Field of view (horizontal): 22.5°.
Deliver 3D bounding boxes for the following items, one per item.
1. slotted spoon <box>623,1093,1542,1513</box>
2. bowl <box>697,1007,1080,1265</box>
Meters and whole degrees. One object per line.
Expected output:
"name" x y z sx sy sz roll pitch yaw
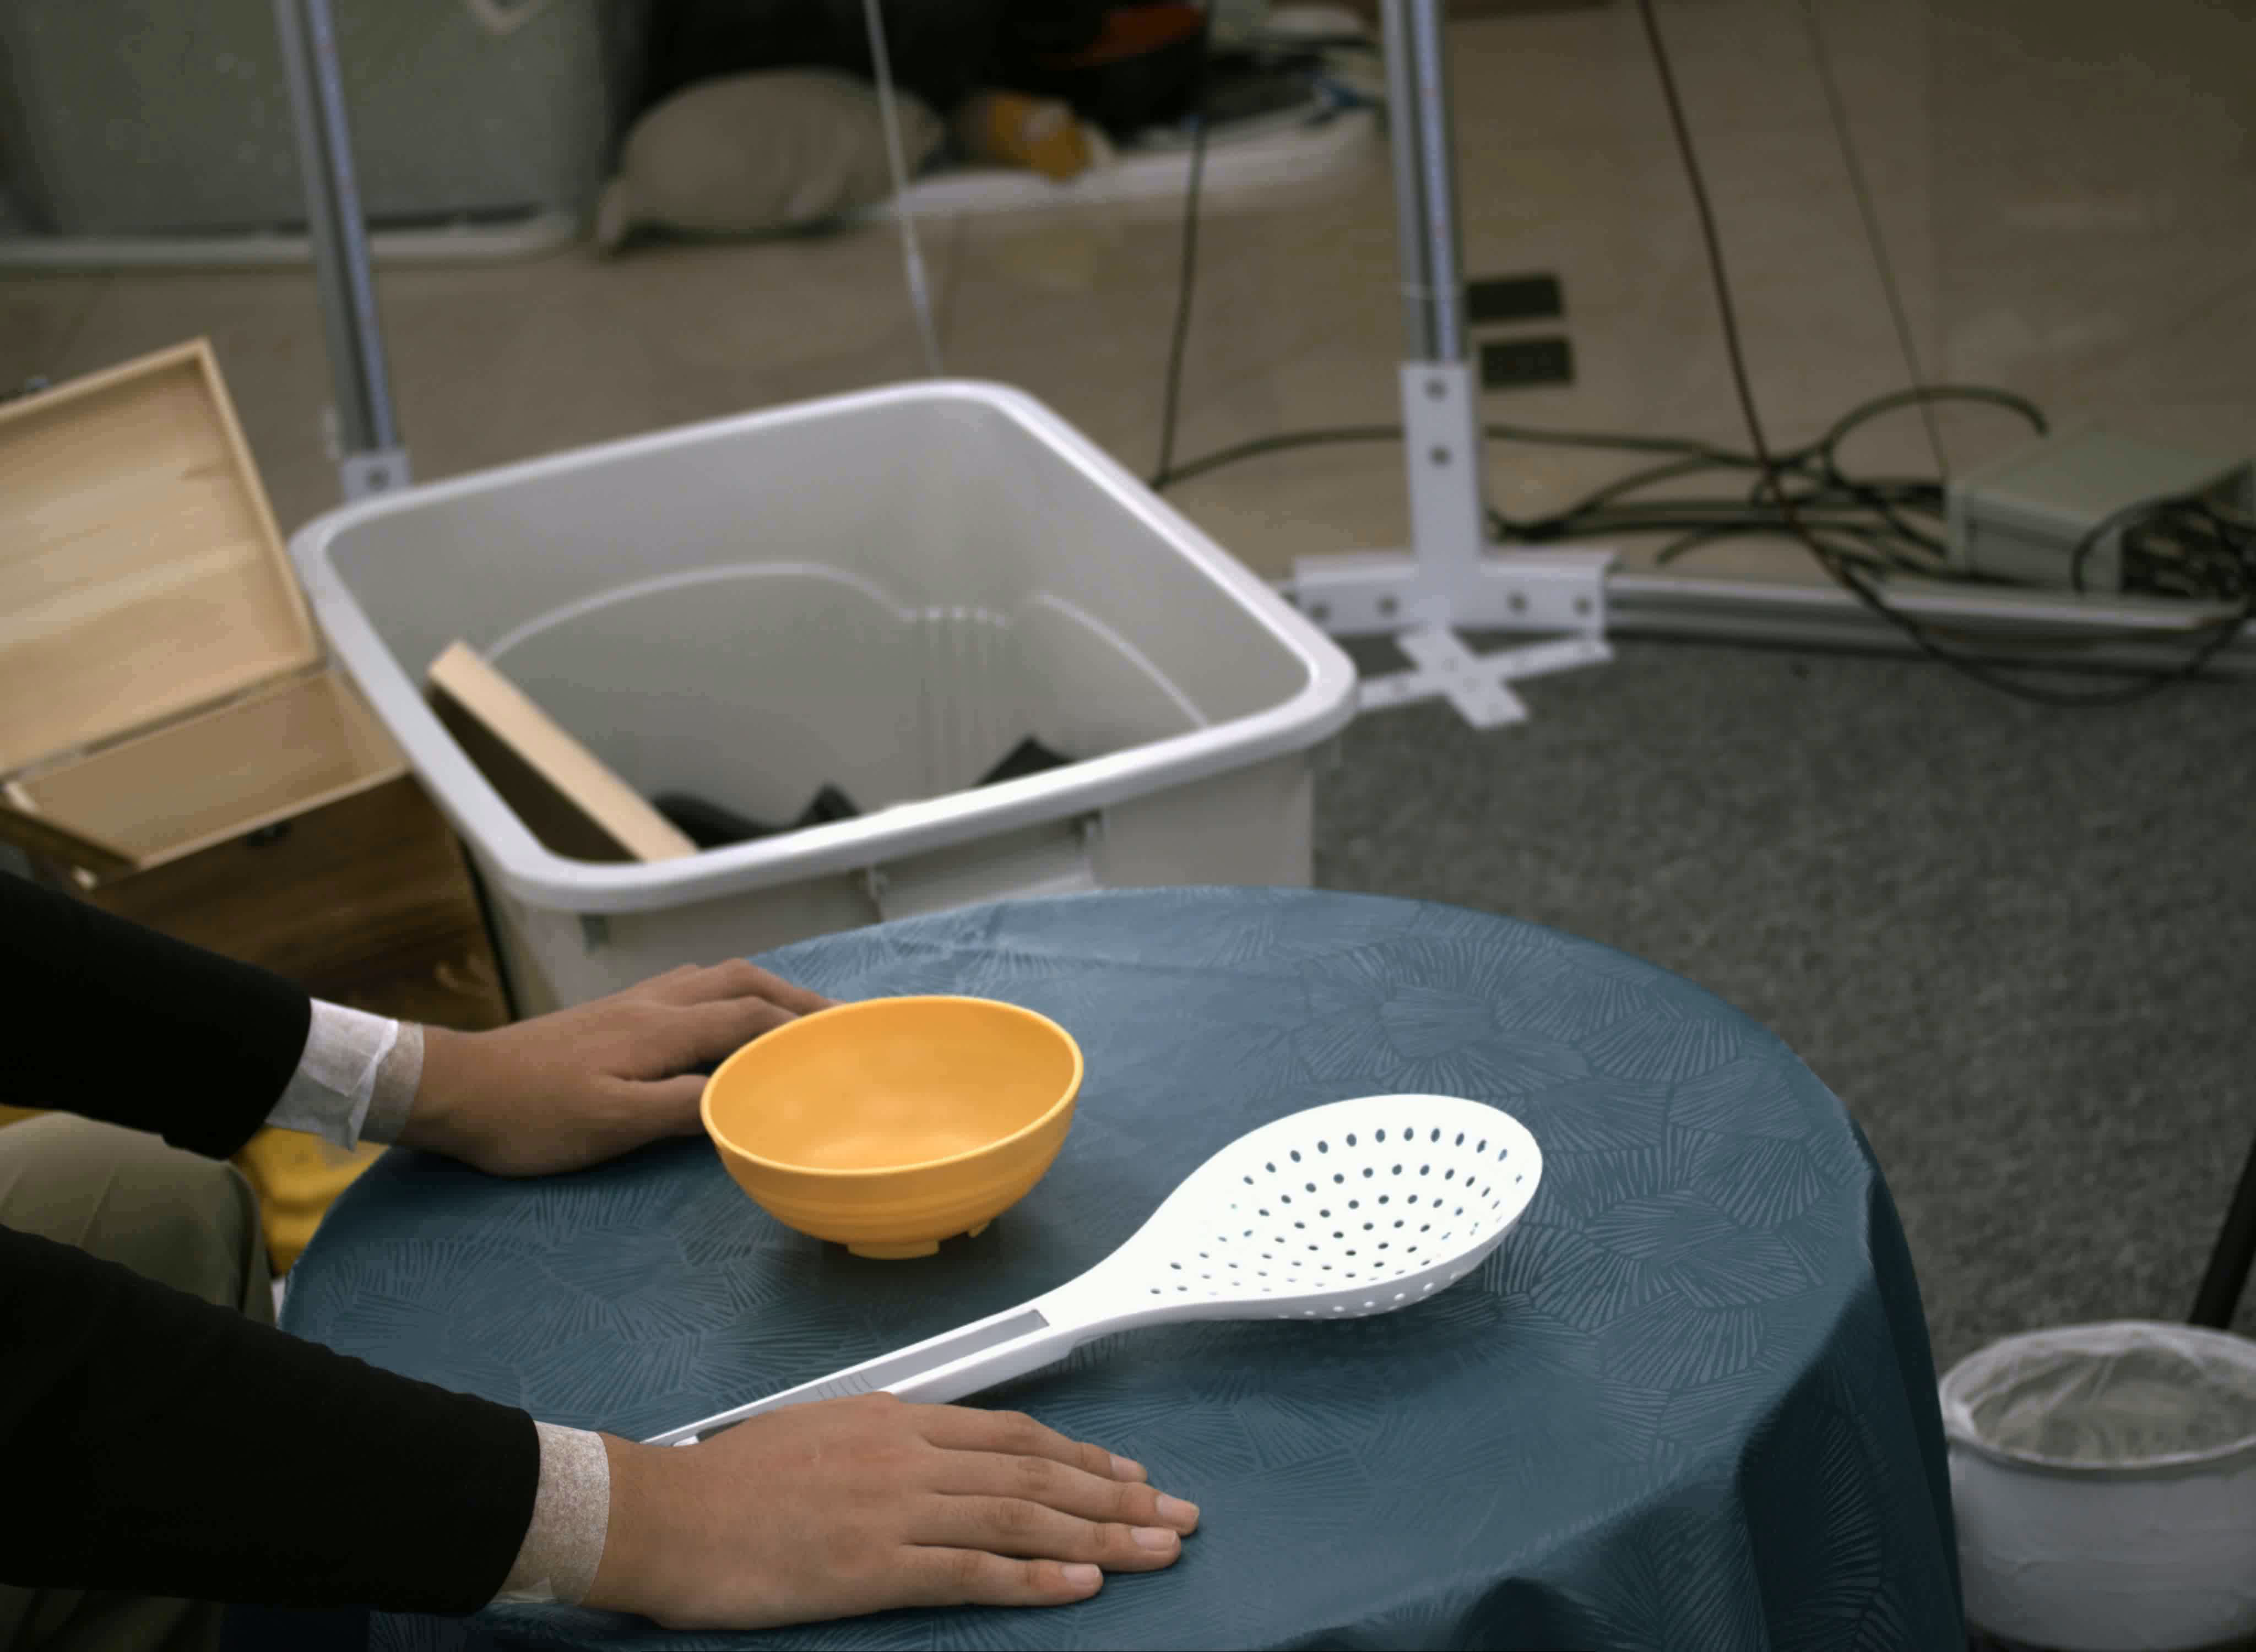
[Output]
"slotted spoon" -0.014 0.173 2.023 0.348 0.046 0.134 -16 26 -17
"bowl" -0.088 0.124 2.135 0.145 0.061 0.143 -4 23 2
